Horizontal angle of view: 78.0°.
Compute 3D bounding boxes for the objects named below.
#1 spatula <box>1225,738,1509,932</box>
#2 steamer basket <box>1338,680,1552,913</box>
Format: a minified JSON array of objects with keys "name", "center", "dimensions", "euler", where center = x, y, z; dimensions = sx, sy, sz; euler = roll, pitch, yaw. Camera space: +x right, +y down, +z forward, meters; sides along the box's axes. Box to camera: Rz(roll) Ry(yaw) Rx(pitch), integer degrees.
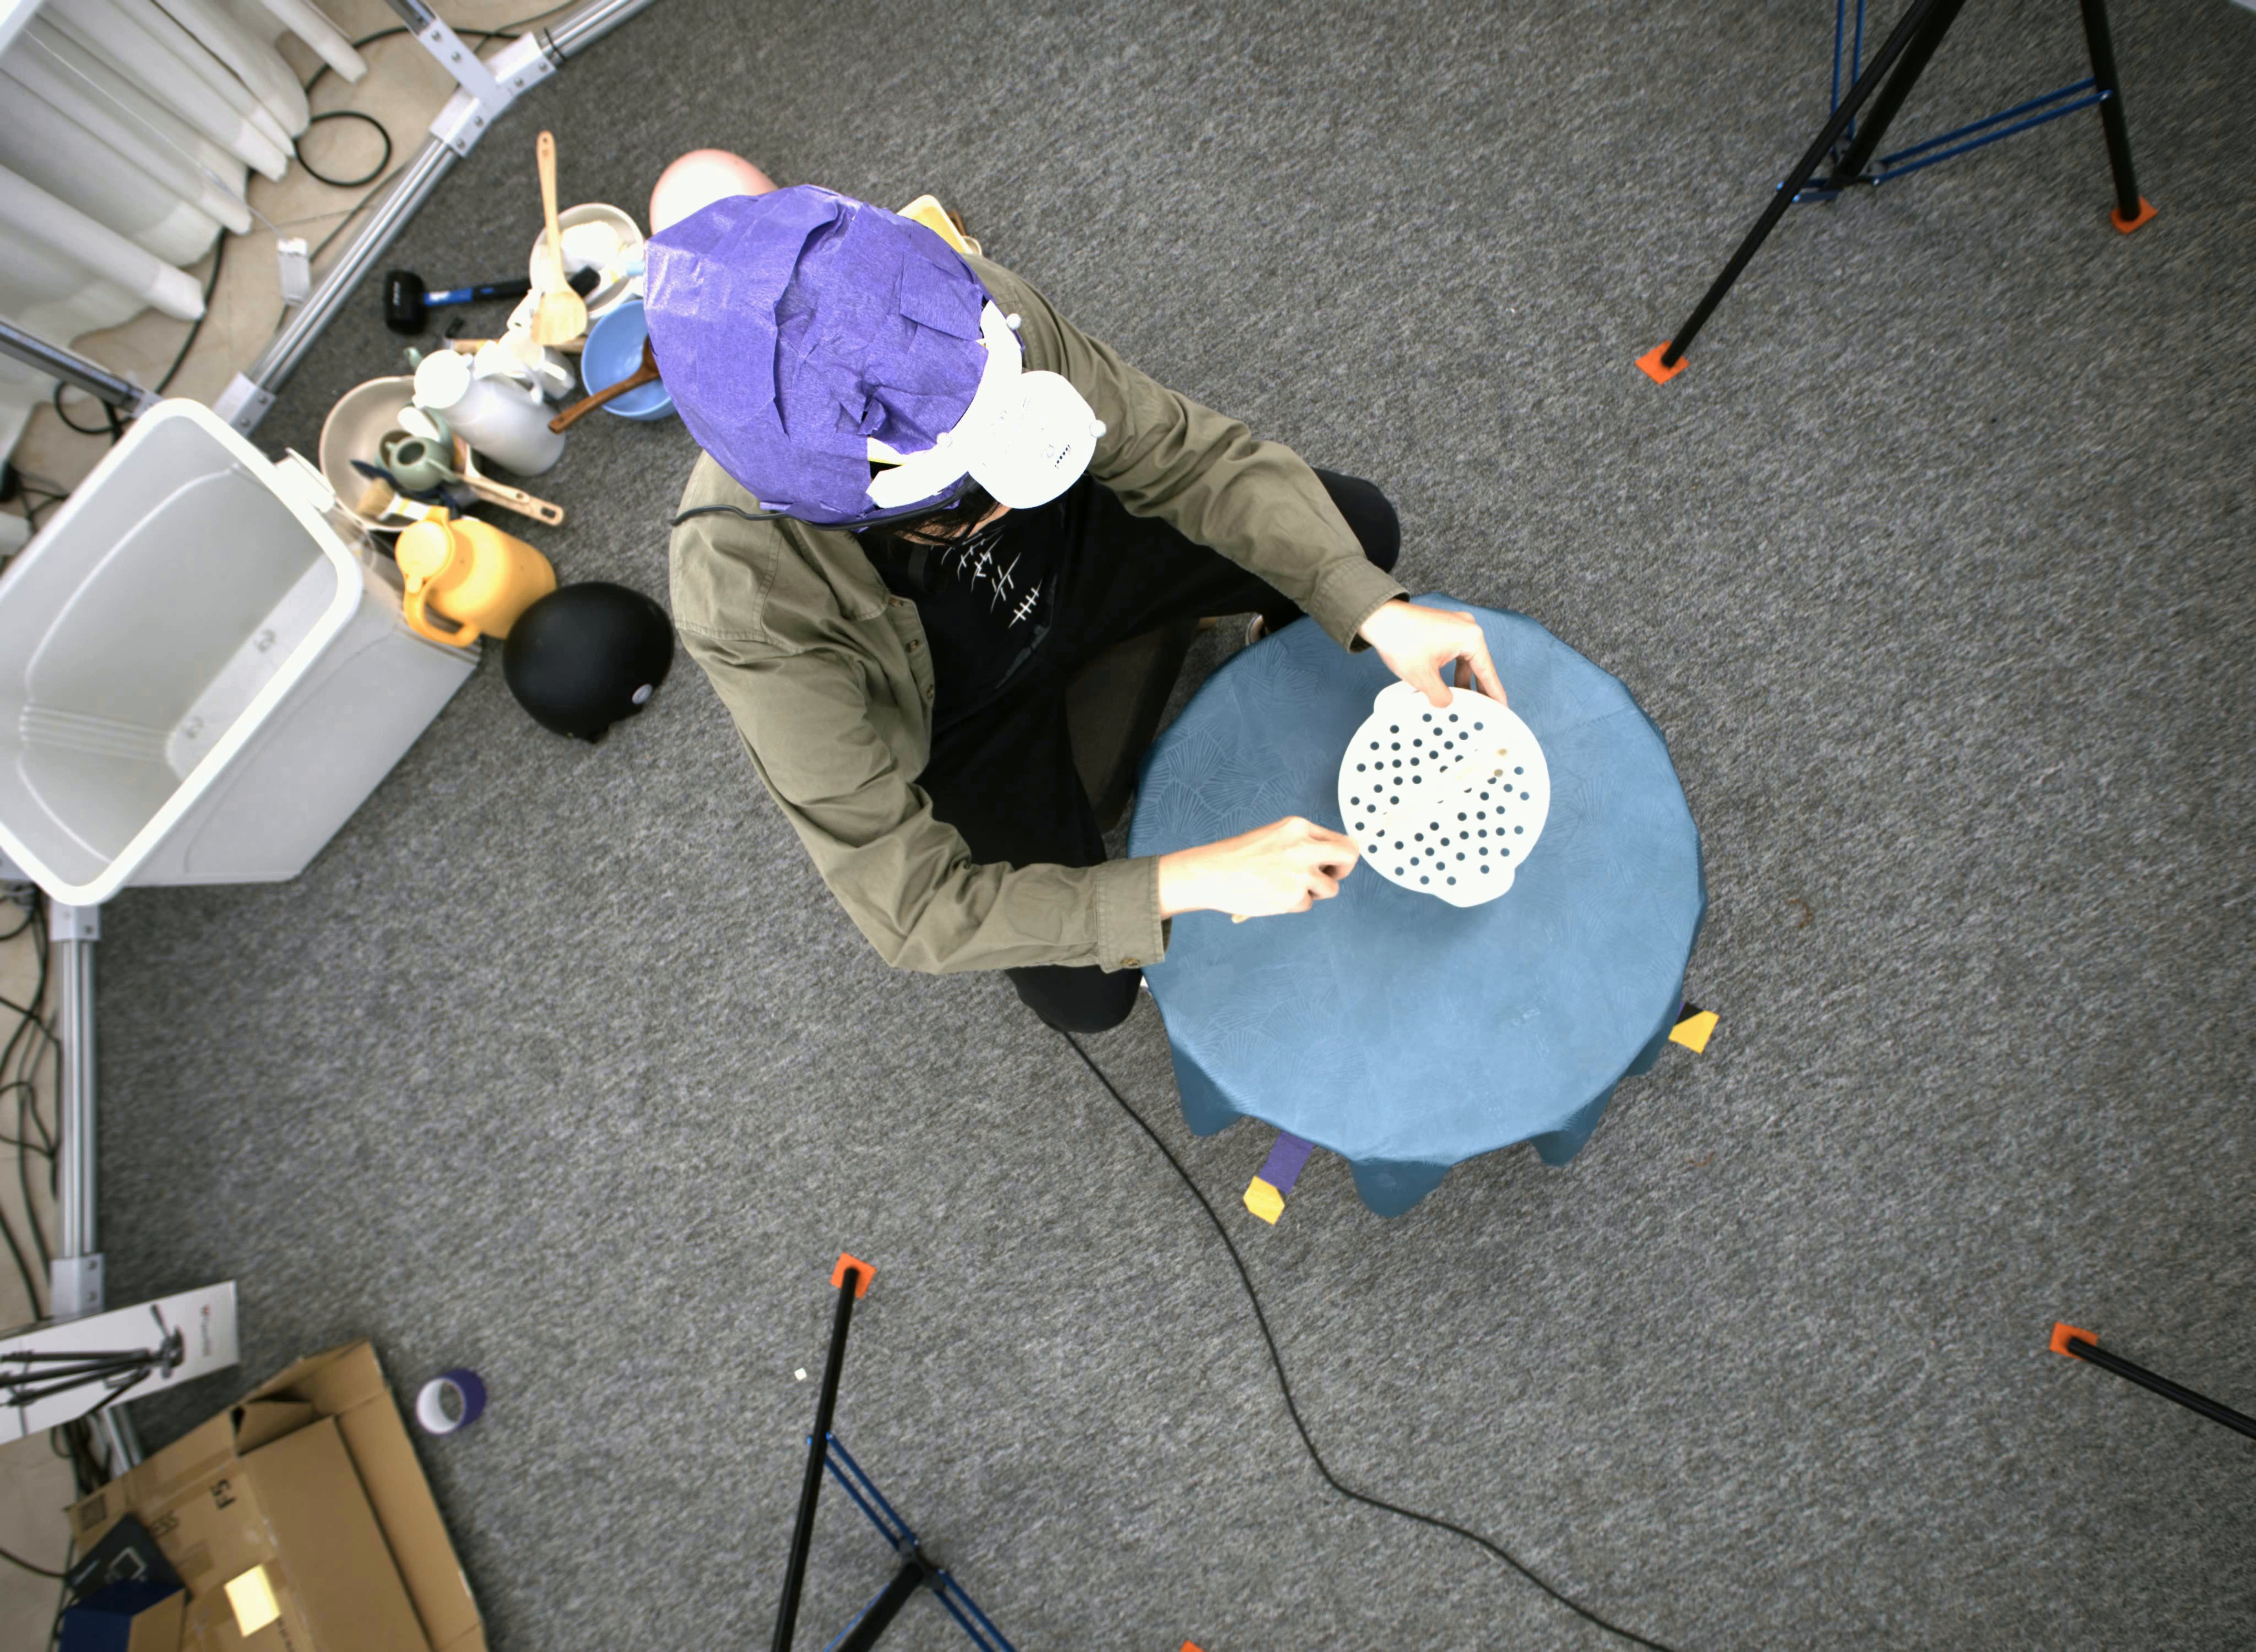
[{"name":"spatula","center":[0.224,0.008,1.264],"dimensions":[0.325,0.081,0.016],"euler":[-32,68,-12]},{"name":"steamer basket","center":[0.307,-0.027,1.342],"dimensions":[0.203,0.069,0.229],"euler":[-19,82,7]}]
